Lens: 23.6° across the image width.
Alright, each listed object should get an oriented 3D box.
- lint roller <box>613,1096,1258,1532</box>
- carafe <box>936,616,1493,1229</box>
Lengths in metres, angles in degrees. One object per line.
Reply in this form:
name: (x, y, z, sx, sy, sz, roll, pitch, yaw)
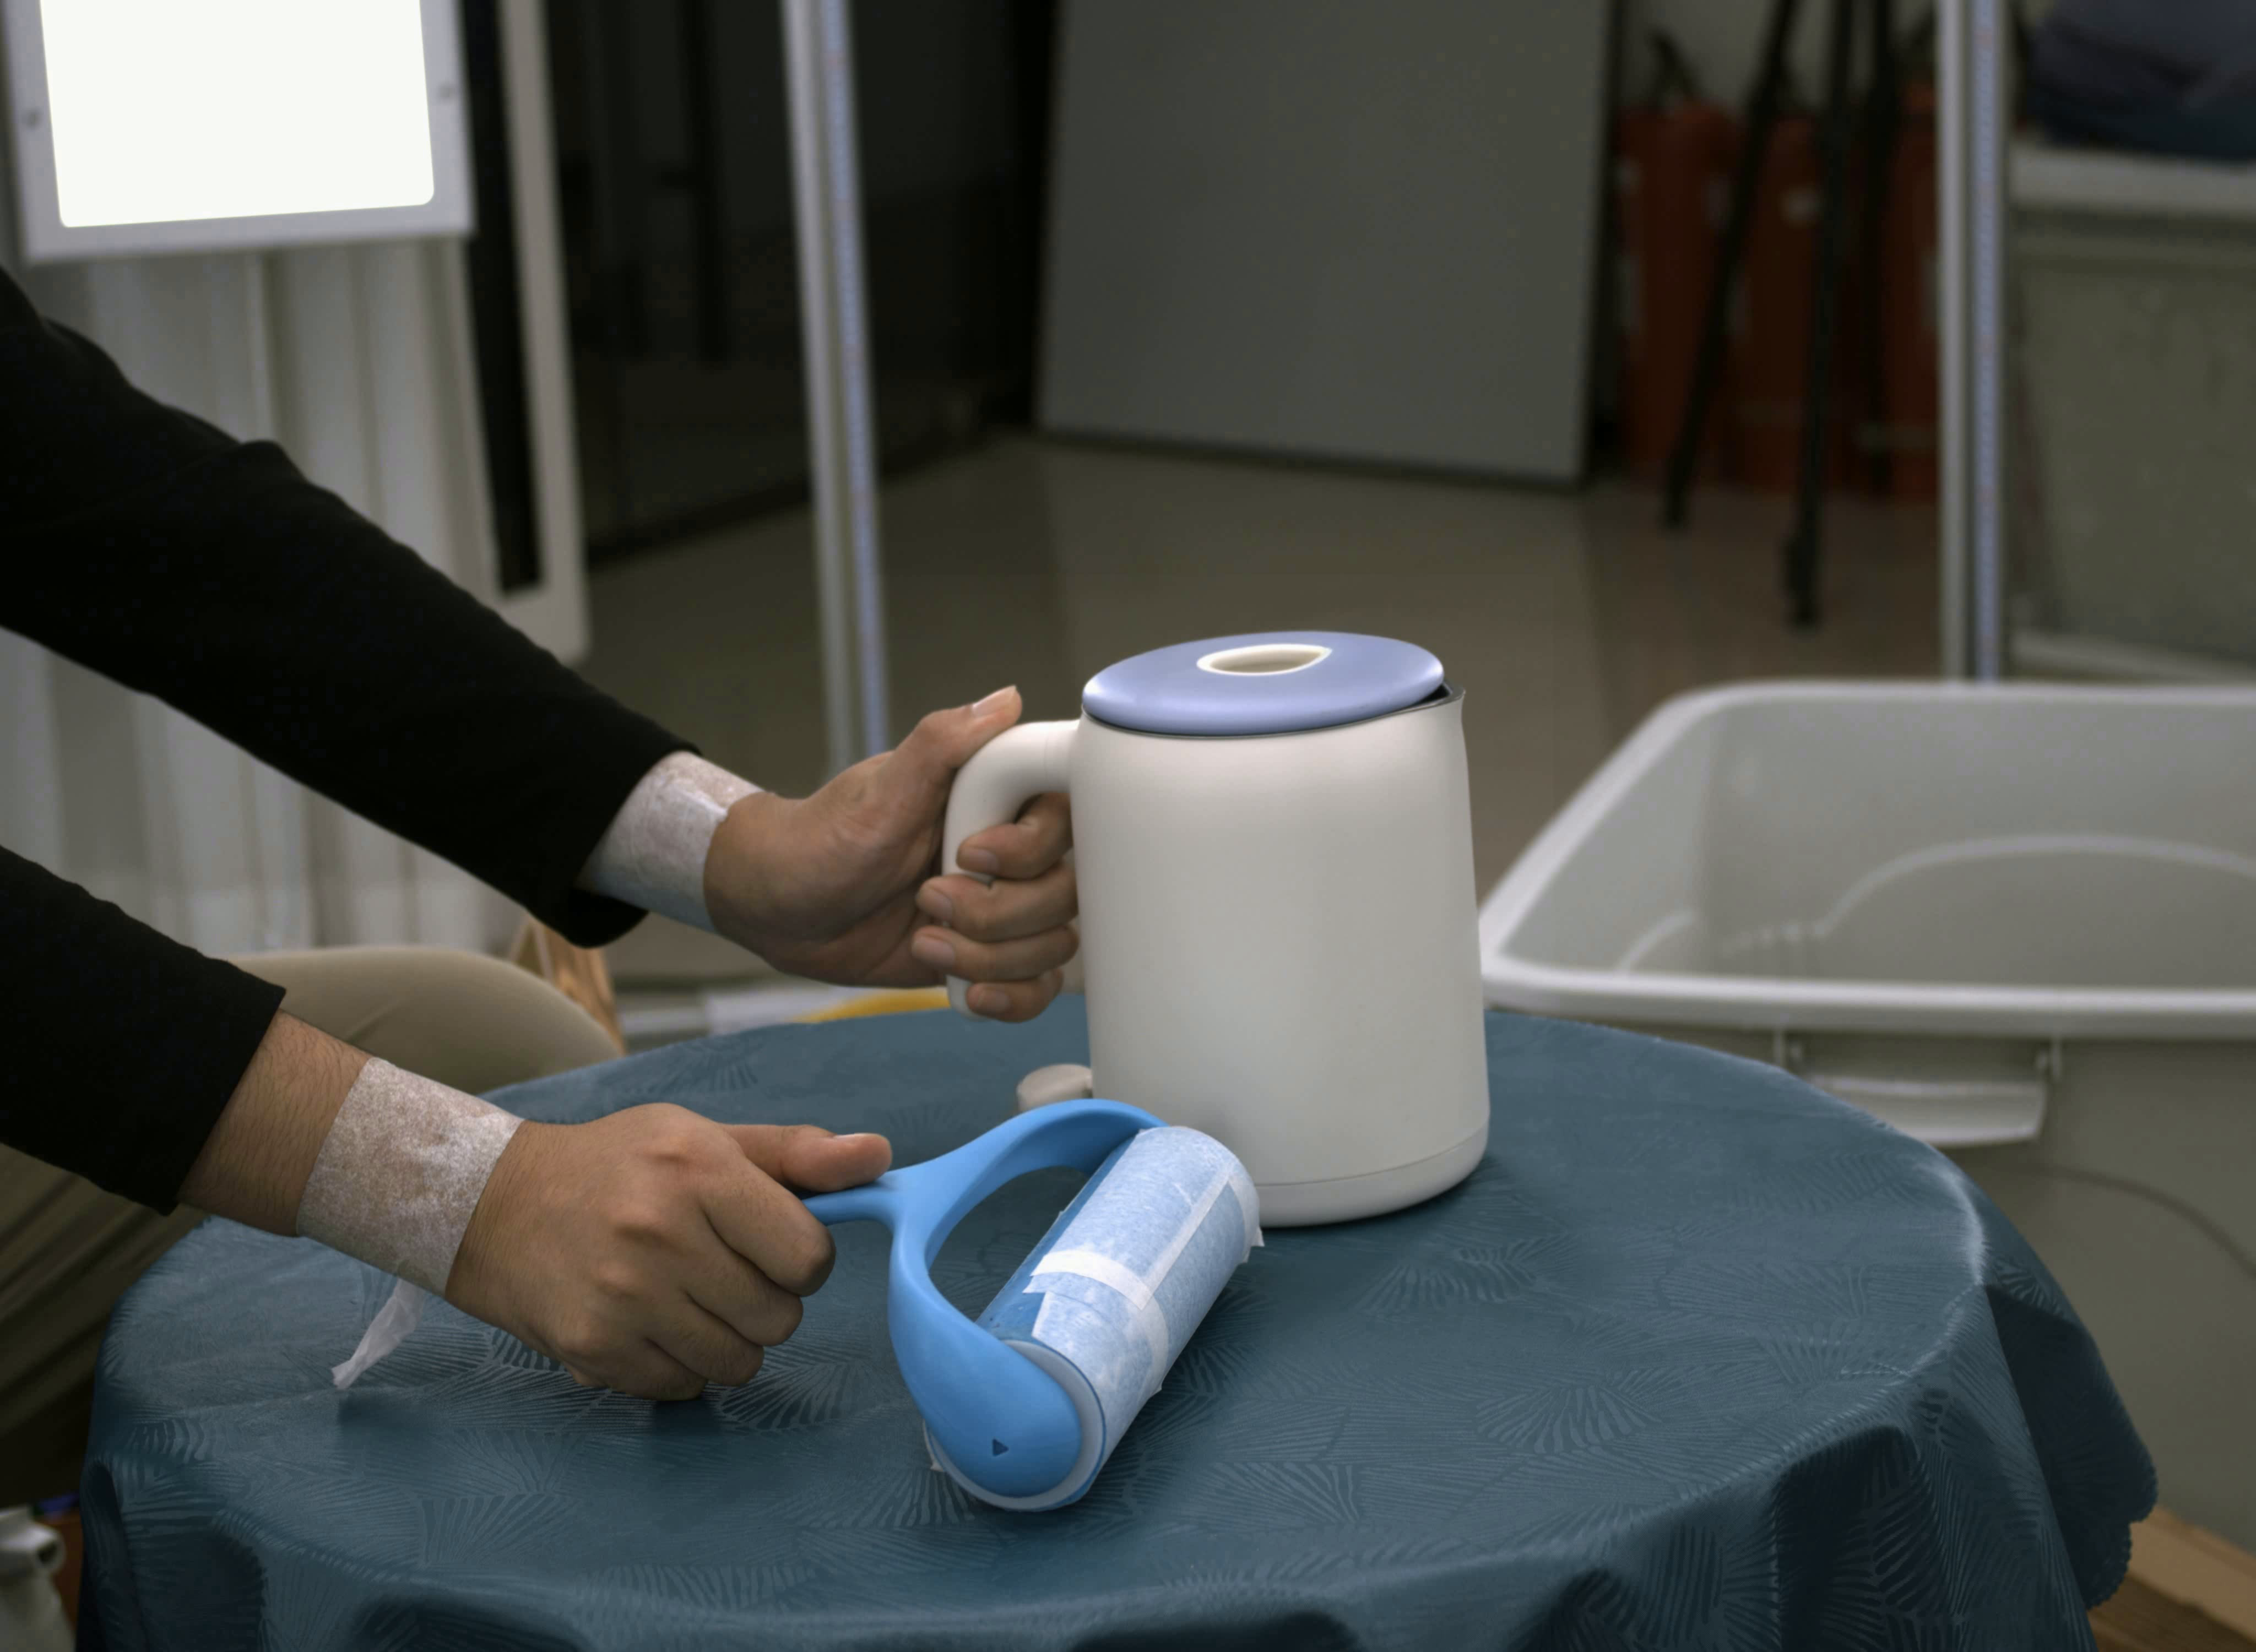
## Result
lint roller: (-0.065, 0.133, 1.592, 0.179, 0.069, 0.227, 10, 19, 10)
carafe: (0.026, 0.031, 1.762, 0.191, 0.184, 0.131, -2, 12, 21)
